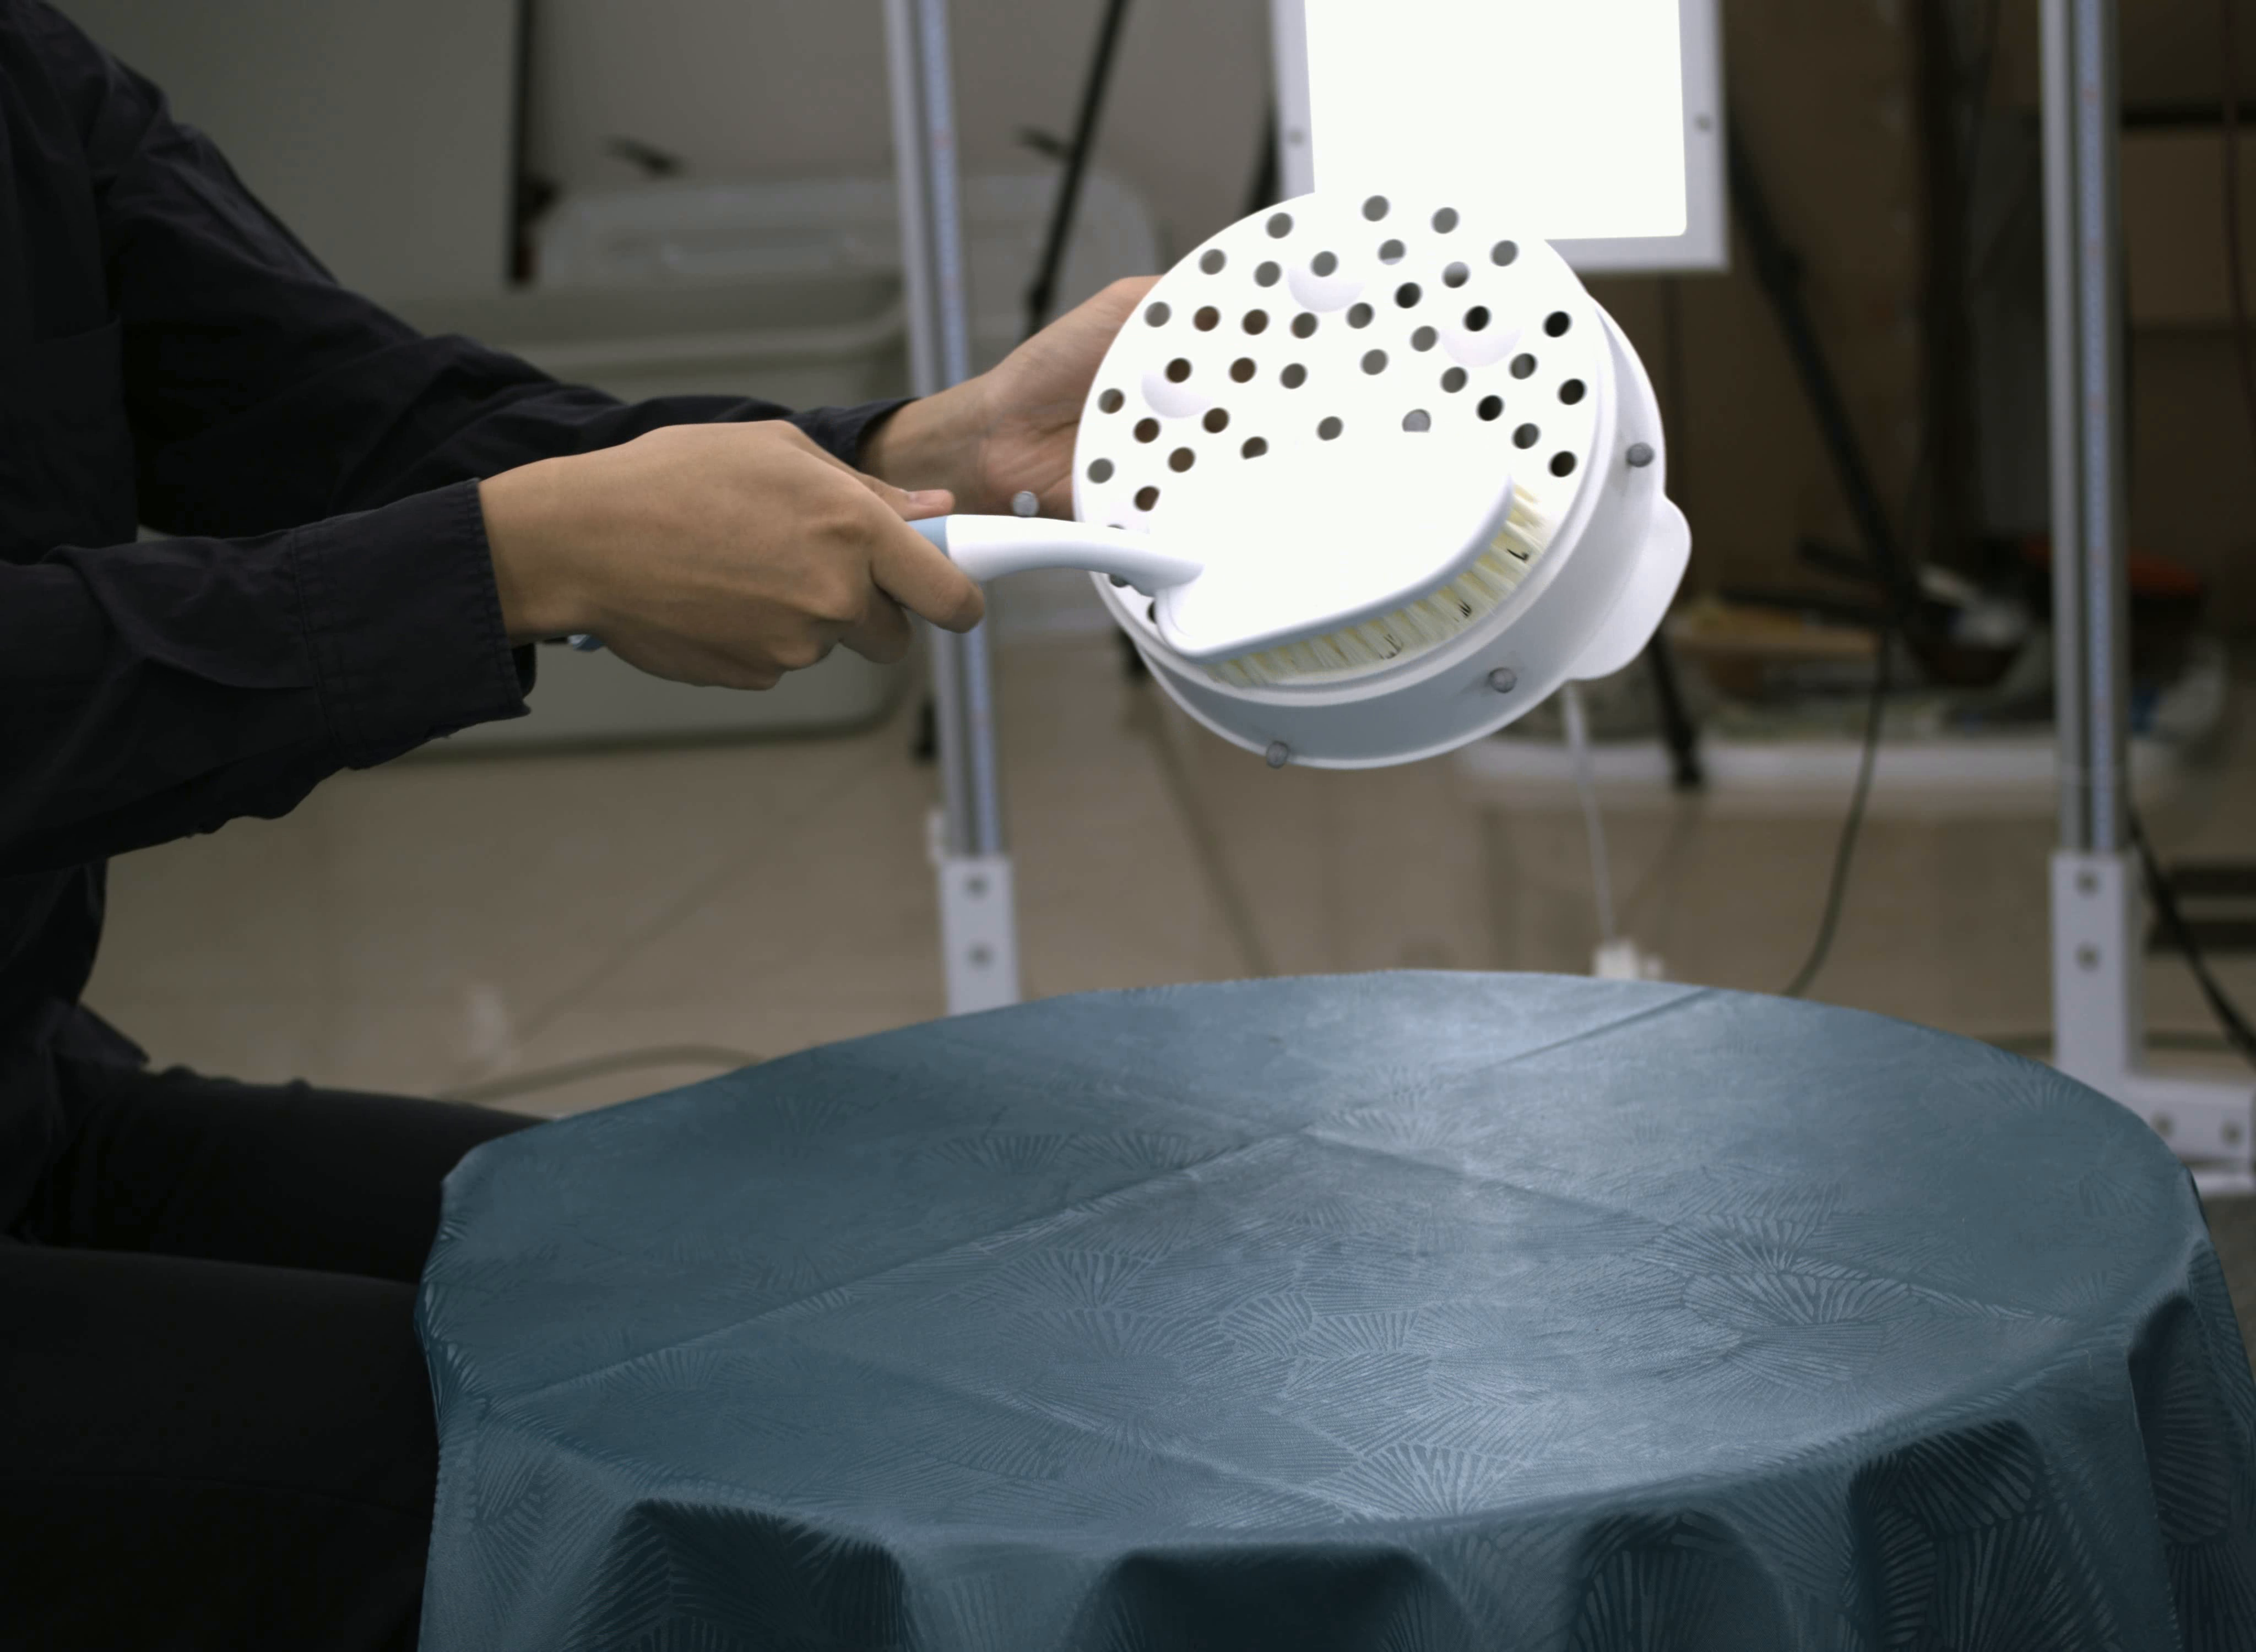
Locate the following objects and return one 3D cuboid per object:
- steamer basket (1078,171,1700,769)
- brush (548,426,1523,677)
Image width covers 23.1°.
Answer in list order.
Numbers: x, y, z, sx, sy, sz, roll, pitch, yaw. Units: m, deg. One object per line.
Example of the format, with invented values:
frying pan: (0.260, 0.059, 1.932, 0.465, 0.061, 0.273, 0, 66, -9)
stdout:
steamer basket: (0.081, -0.123, 1.867, 0.234, 0.201, 0.068, 23, -10, 29)
brush: (-0.029, -0.084, 1.824, 0.328, 0.084, 0.082, -7, 31, 12)
